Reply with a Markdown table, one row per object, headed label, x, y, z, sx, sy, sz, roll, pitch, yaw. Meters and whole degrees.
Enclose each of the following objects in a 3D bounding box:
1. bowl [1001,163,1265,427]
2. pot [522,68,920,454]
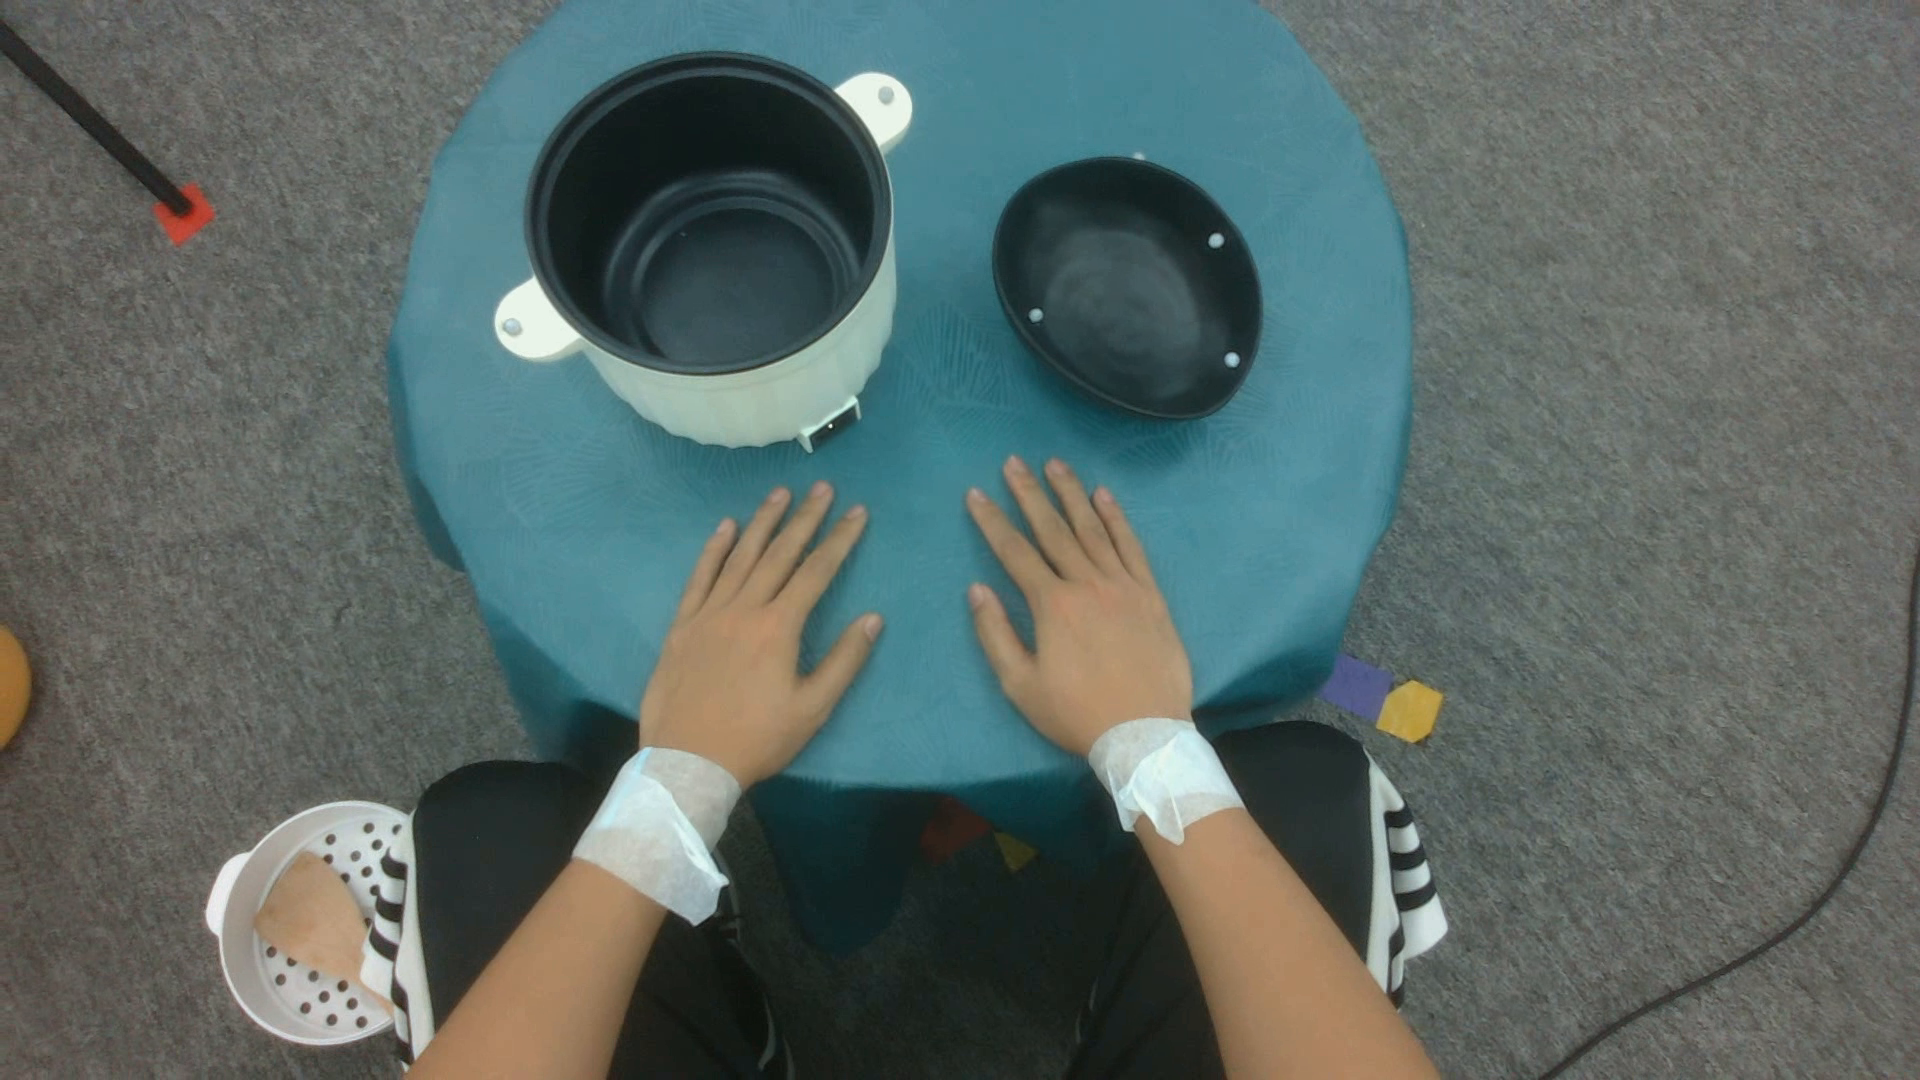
| label | x | y | z | sx | sy | sz | roll | pitch | yaw |
| --- | --- | --- | --- | --- | --- | --- | --- | --- | --- |
| bowl | 0.099 | -0.135 | 0.796 | 0.137 | 0.066 | 0.170 | -37 | 76 | -10 |
| pot | -0.124 | -0.147 | 0.762 | 0.241 | 0.142 | 0.190 | -36 | 79 | -12 |
